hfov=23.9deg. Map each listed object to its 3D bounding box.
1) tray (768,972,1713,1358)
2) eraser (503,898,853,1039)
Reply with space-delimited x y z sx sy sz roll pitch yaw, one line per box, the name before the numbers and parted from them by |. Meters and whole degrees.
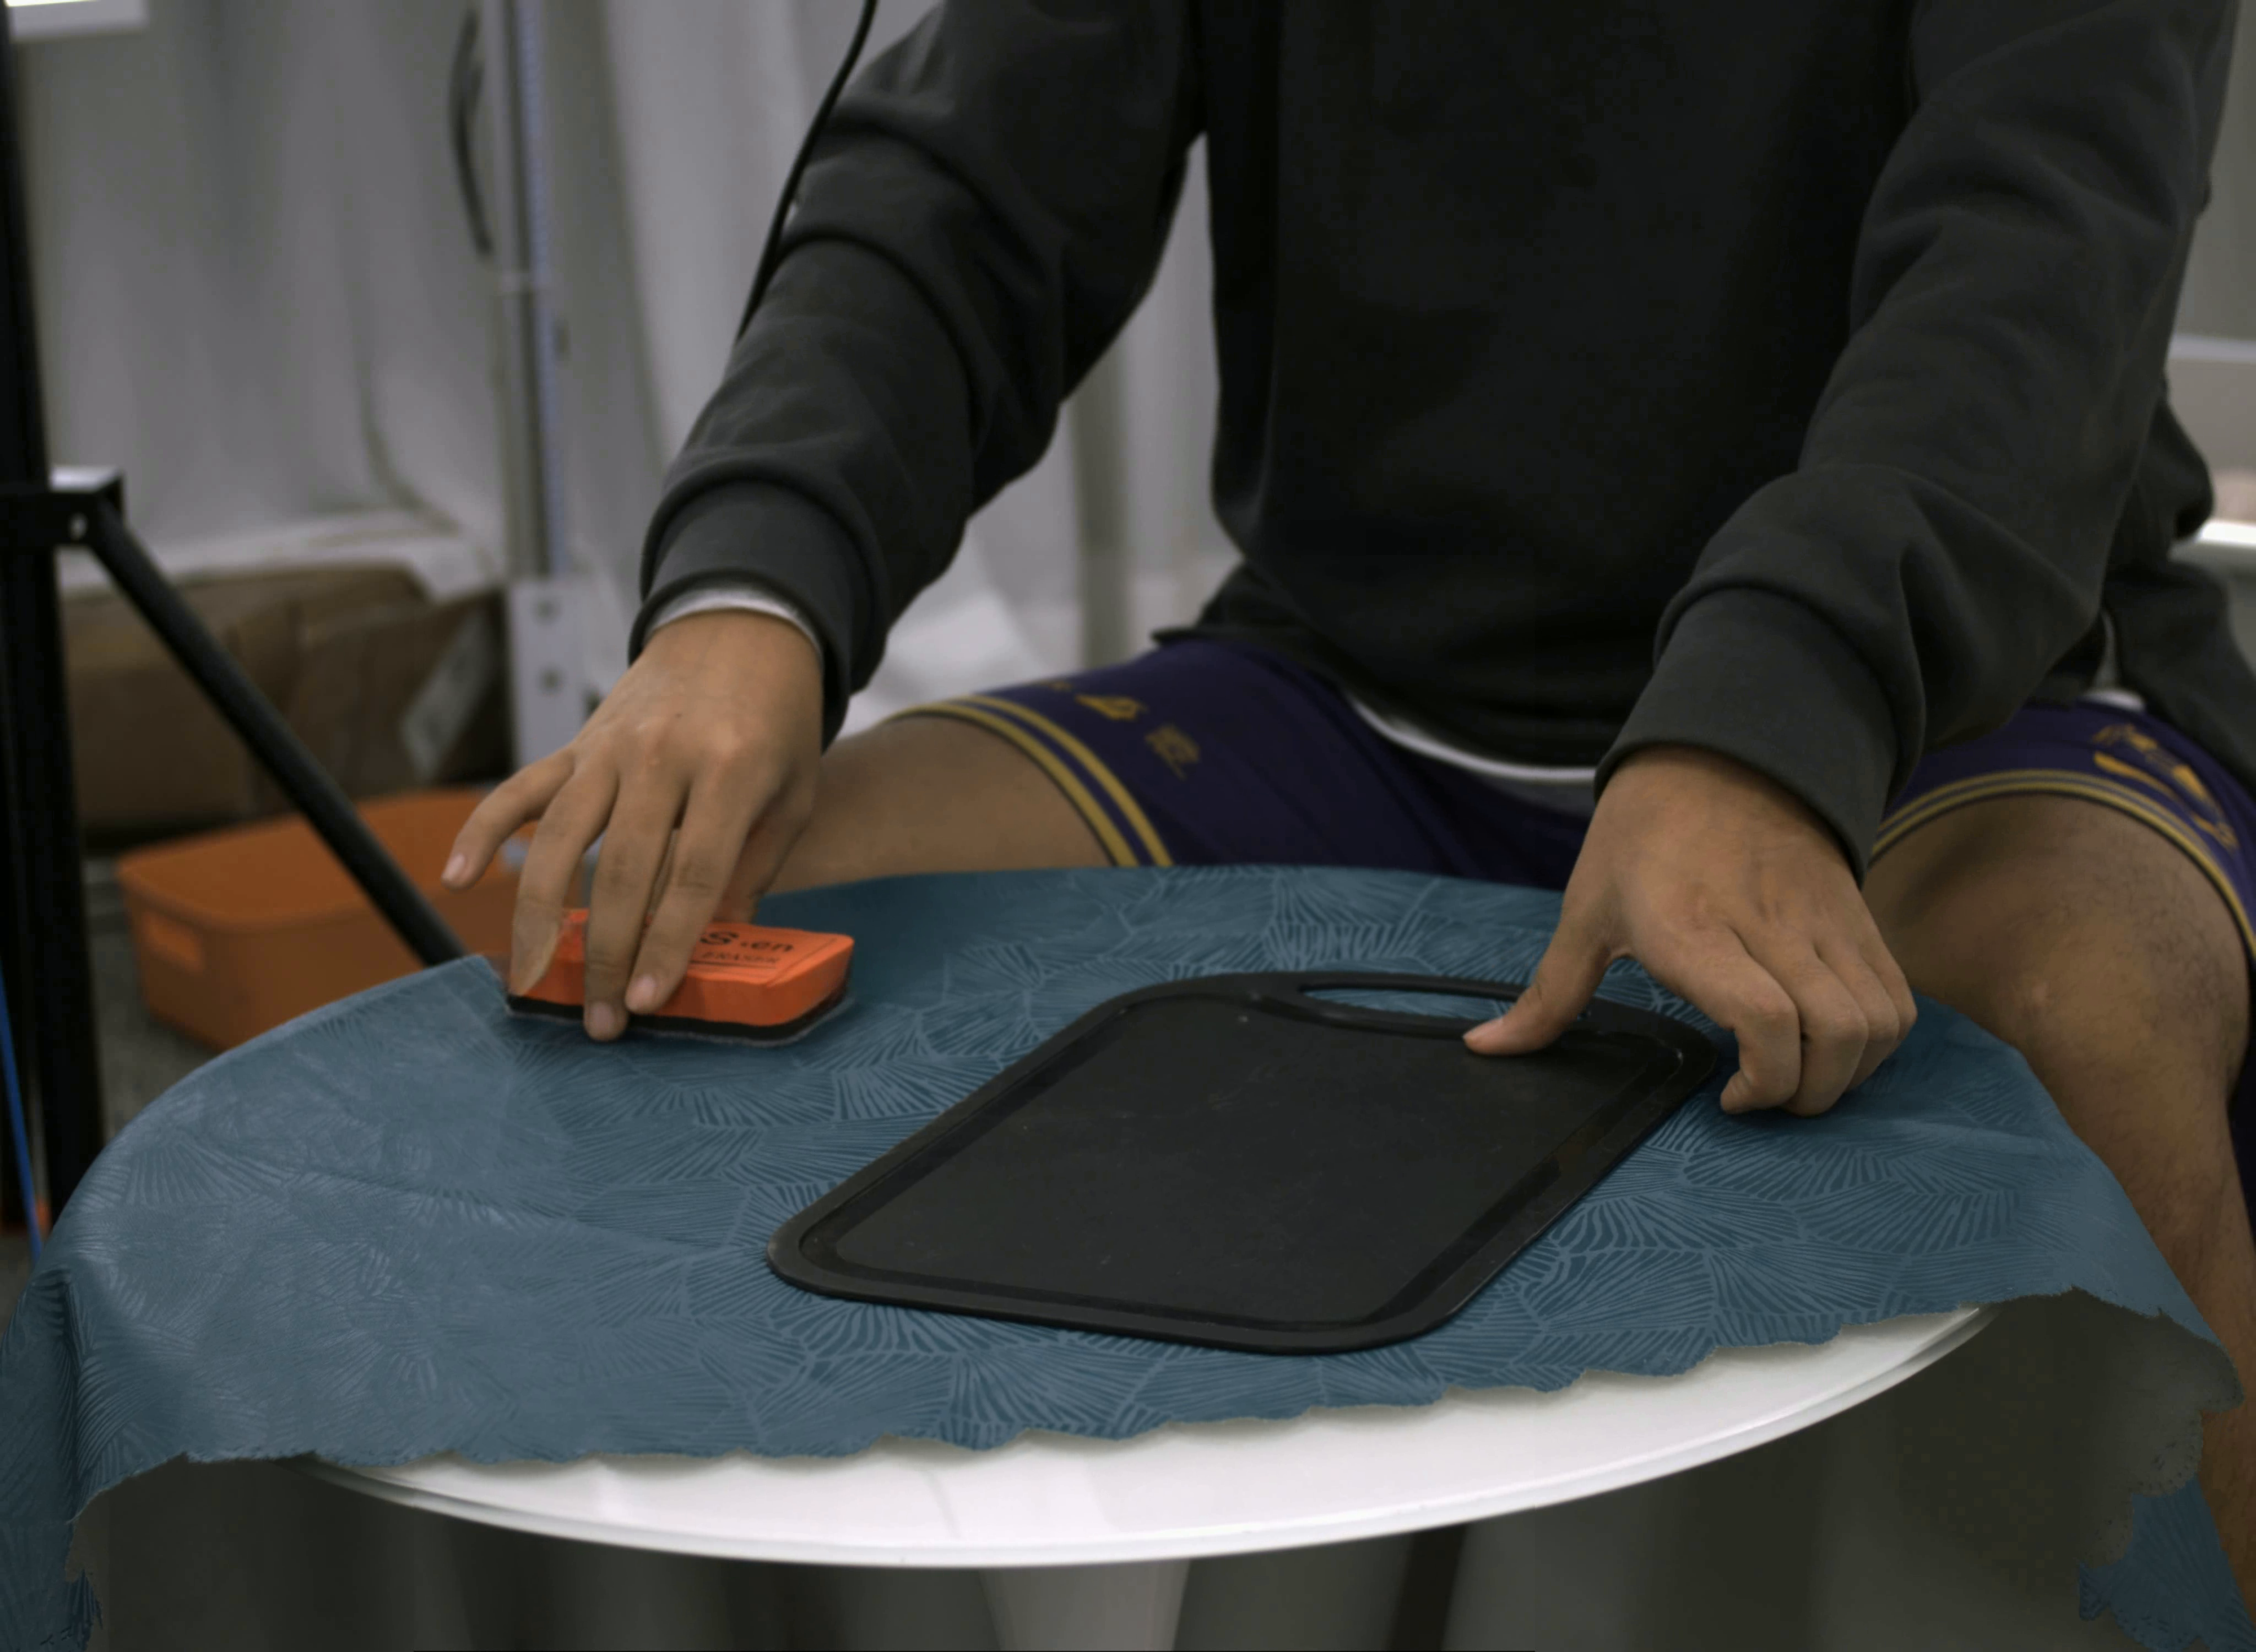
tray | 0.043 0.093 1.596 0.214 0.010 0.320 5 18 25
eraser | -0.147 0.046 1.749 0.110 0.023 0.058 7 18 26
